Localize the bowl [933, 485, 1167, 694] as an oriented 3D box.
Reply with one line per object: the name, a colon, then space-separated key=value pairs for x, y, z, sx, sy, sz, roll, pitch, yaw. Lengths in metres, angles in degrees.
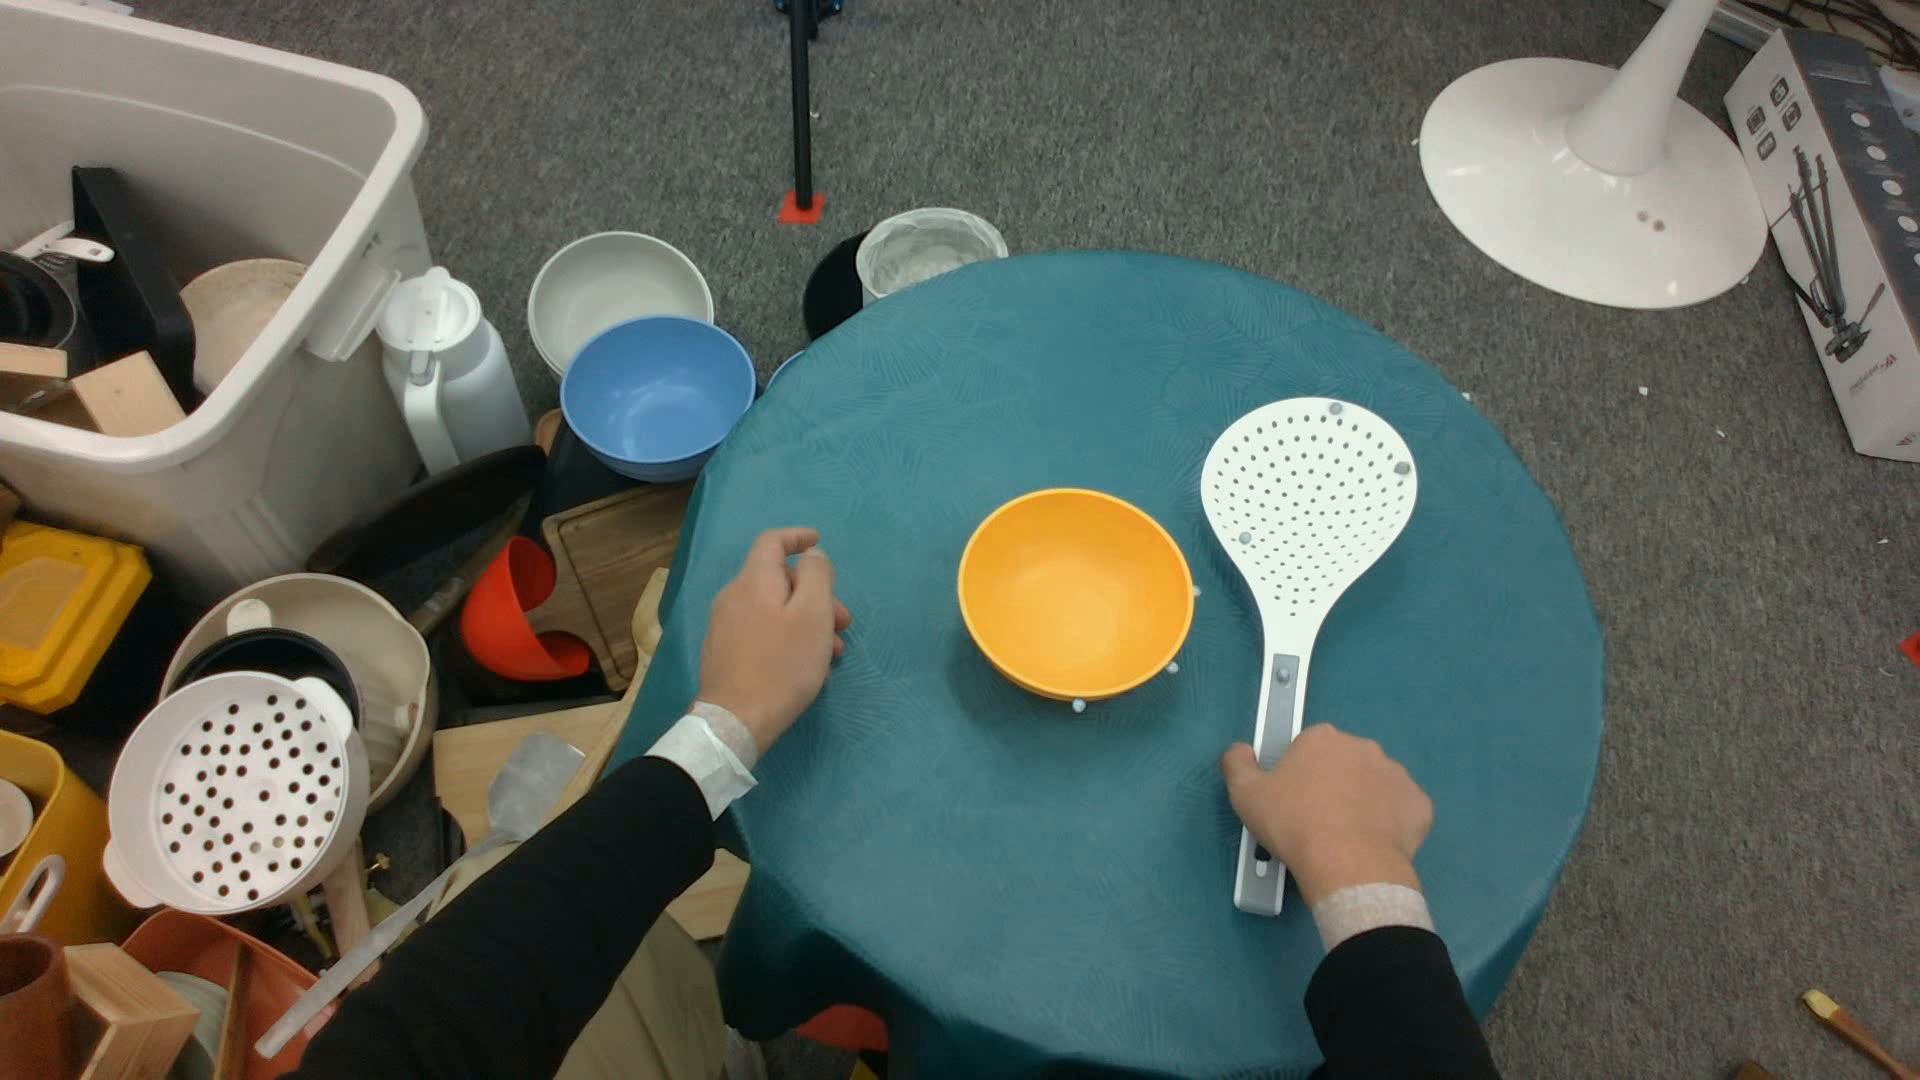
bowl: x=0.052 y=0.040 z=0.855 sx=0.145 sy=0.060 sz=0.146 roll=3 pitch=56 yaw=-4

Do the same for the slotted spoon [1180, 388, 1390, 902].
slotted spoon: x=0.192 y=0.053 z=0.863 sx=0.136 sy=0.045 sz=0.351 roll=6 pitch=57 yaw=14
